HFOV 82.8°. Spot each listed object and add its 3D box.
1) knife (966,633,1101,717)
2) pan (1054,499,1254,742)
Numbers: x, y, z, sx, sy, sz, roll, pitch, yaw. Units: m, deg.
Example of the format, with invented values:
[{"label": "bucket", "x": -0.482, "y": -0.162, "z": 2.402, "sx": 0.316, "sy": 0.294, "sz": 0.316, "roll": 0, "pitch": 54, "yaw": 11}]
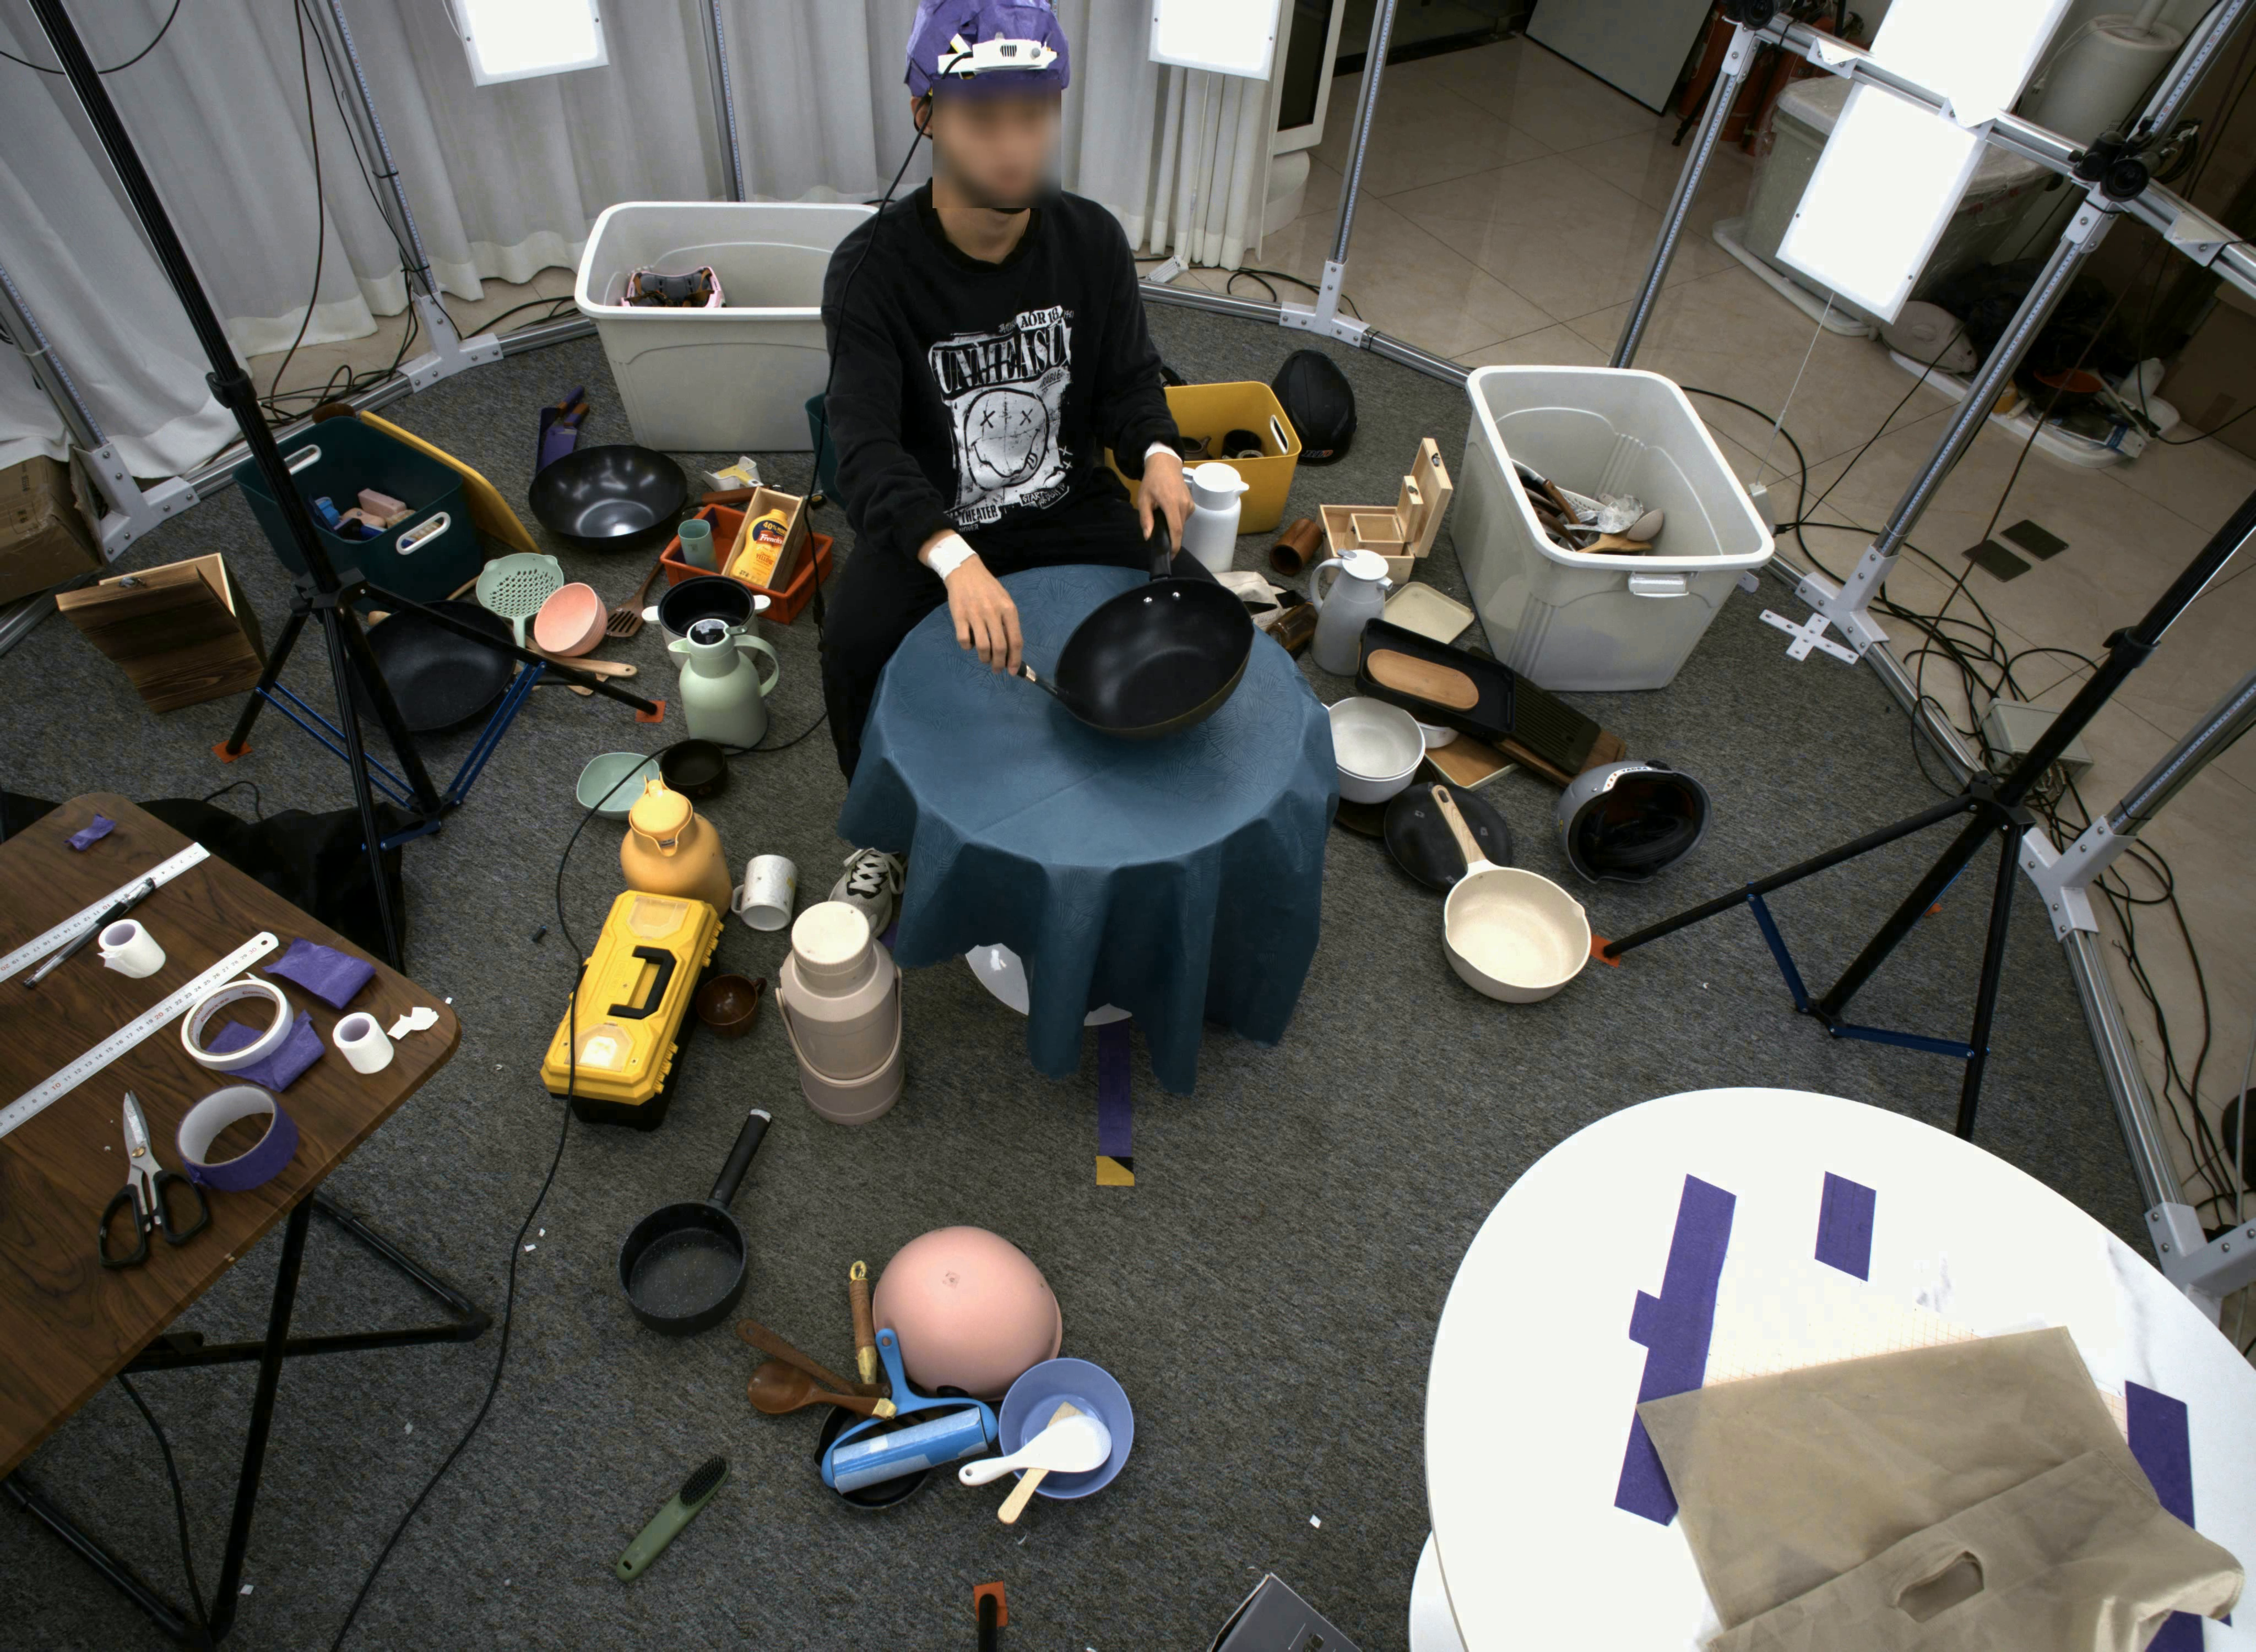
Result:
[{"label": "knife", "x": -0.123, "y": -0.198, "z": 1.721, "sx": 0.222, "sy": 0.017, "sz": 0.027, "roll": 30, "pitch": 37, "yaw": -28}, {"label": "pan", "x": 0.051, "y": -0.286, "z": 1.829, "sx": 0.288, "sy": 0.085, "sz": 0.474, "roll": -9, "pitch": 49, "yaw": 18}]
